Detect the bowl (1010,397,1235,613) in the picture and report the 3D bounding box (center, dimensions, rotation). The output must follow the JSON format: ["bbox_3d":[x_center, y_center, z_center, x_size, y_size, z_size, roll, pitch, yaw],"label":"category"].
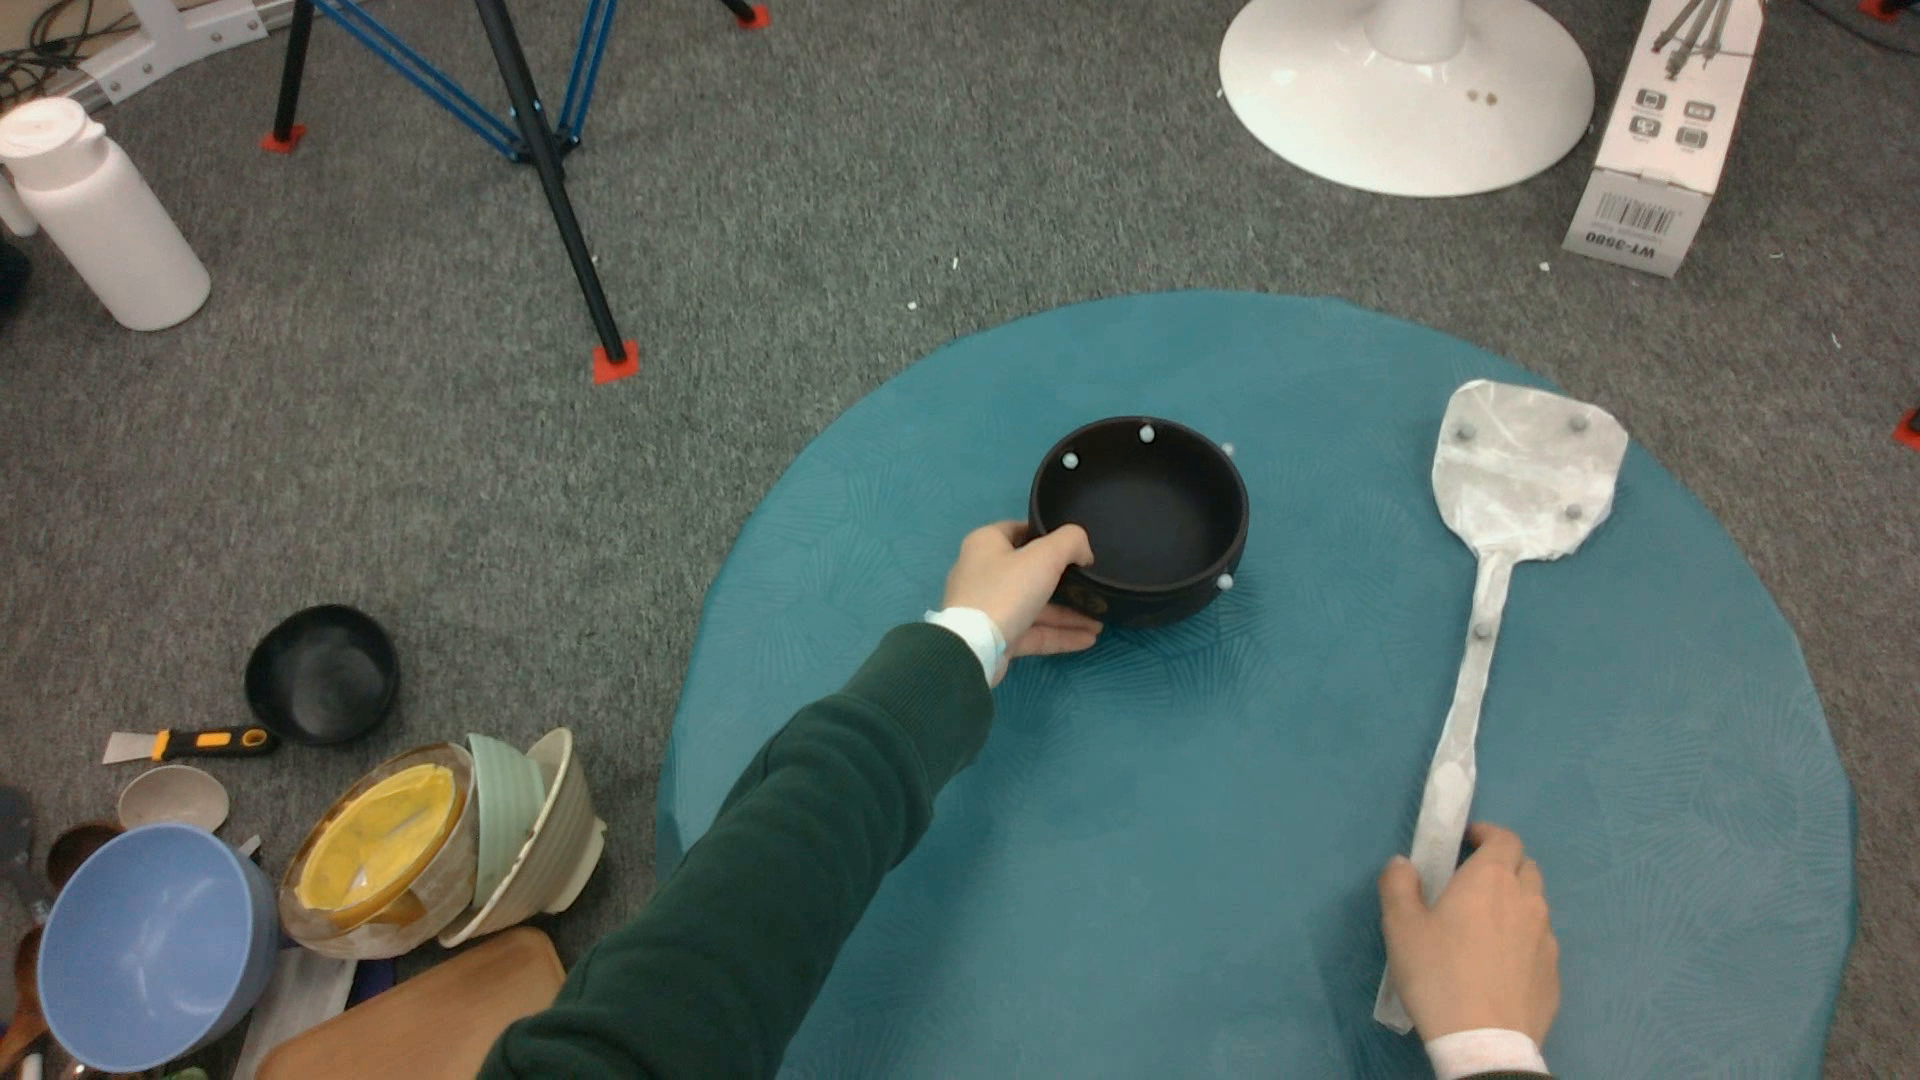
[{"bbox_3d":[0.086,-0.012,0.741,0.118,0.069,0.118,-1,56,2],"label":"bowl"}]

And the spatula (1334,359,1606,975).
[{"bbox_3d":[0.256,0.055,0.716,0.098,0.044,0.366,20,59,11],"label":"spatula"}]
